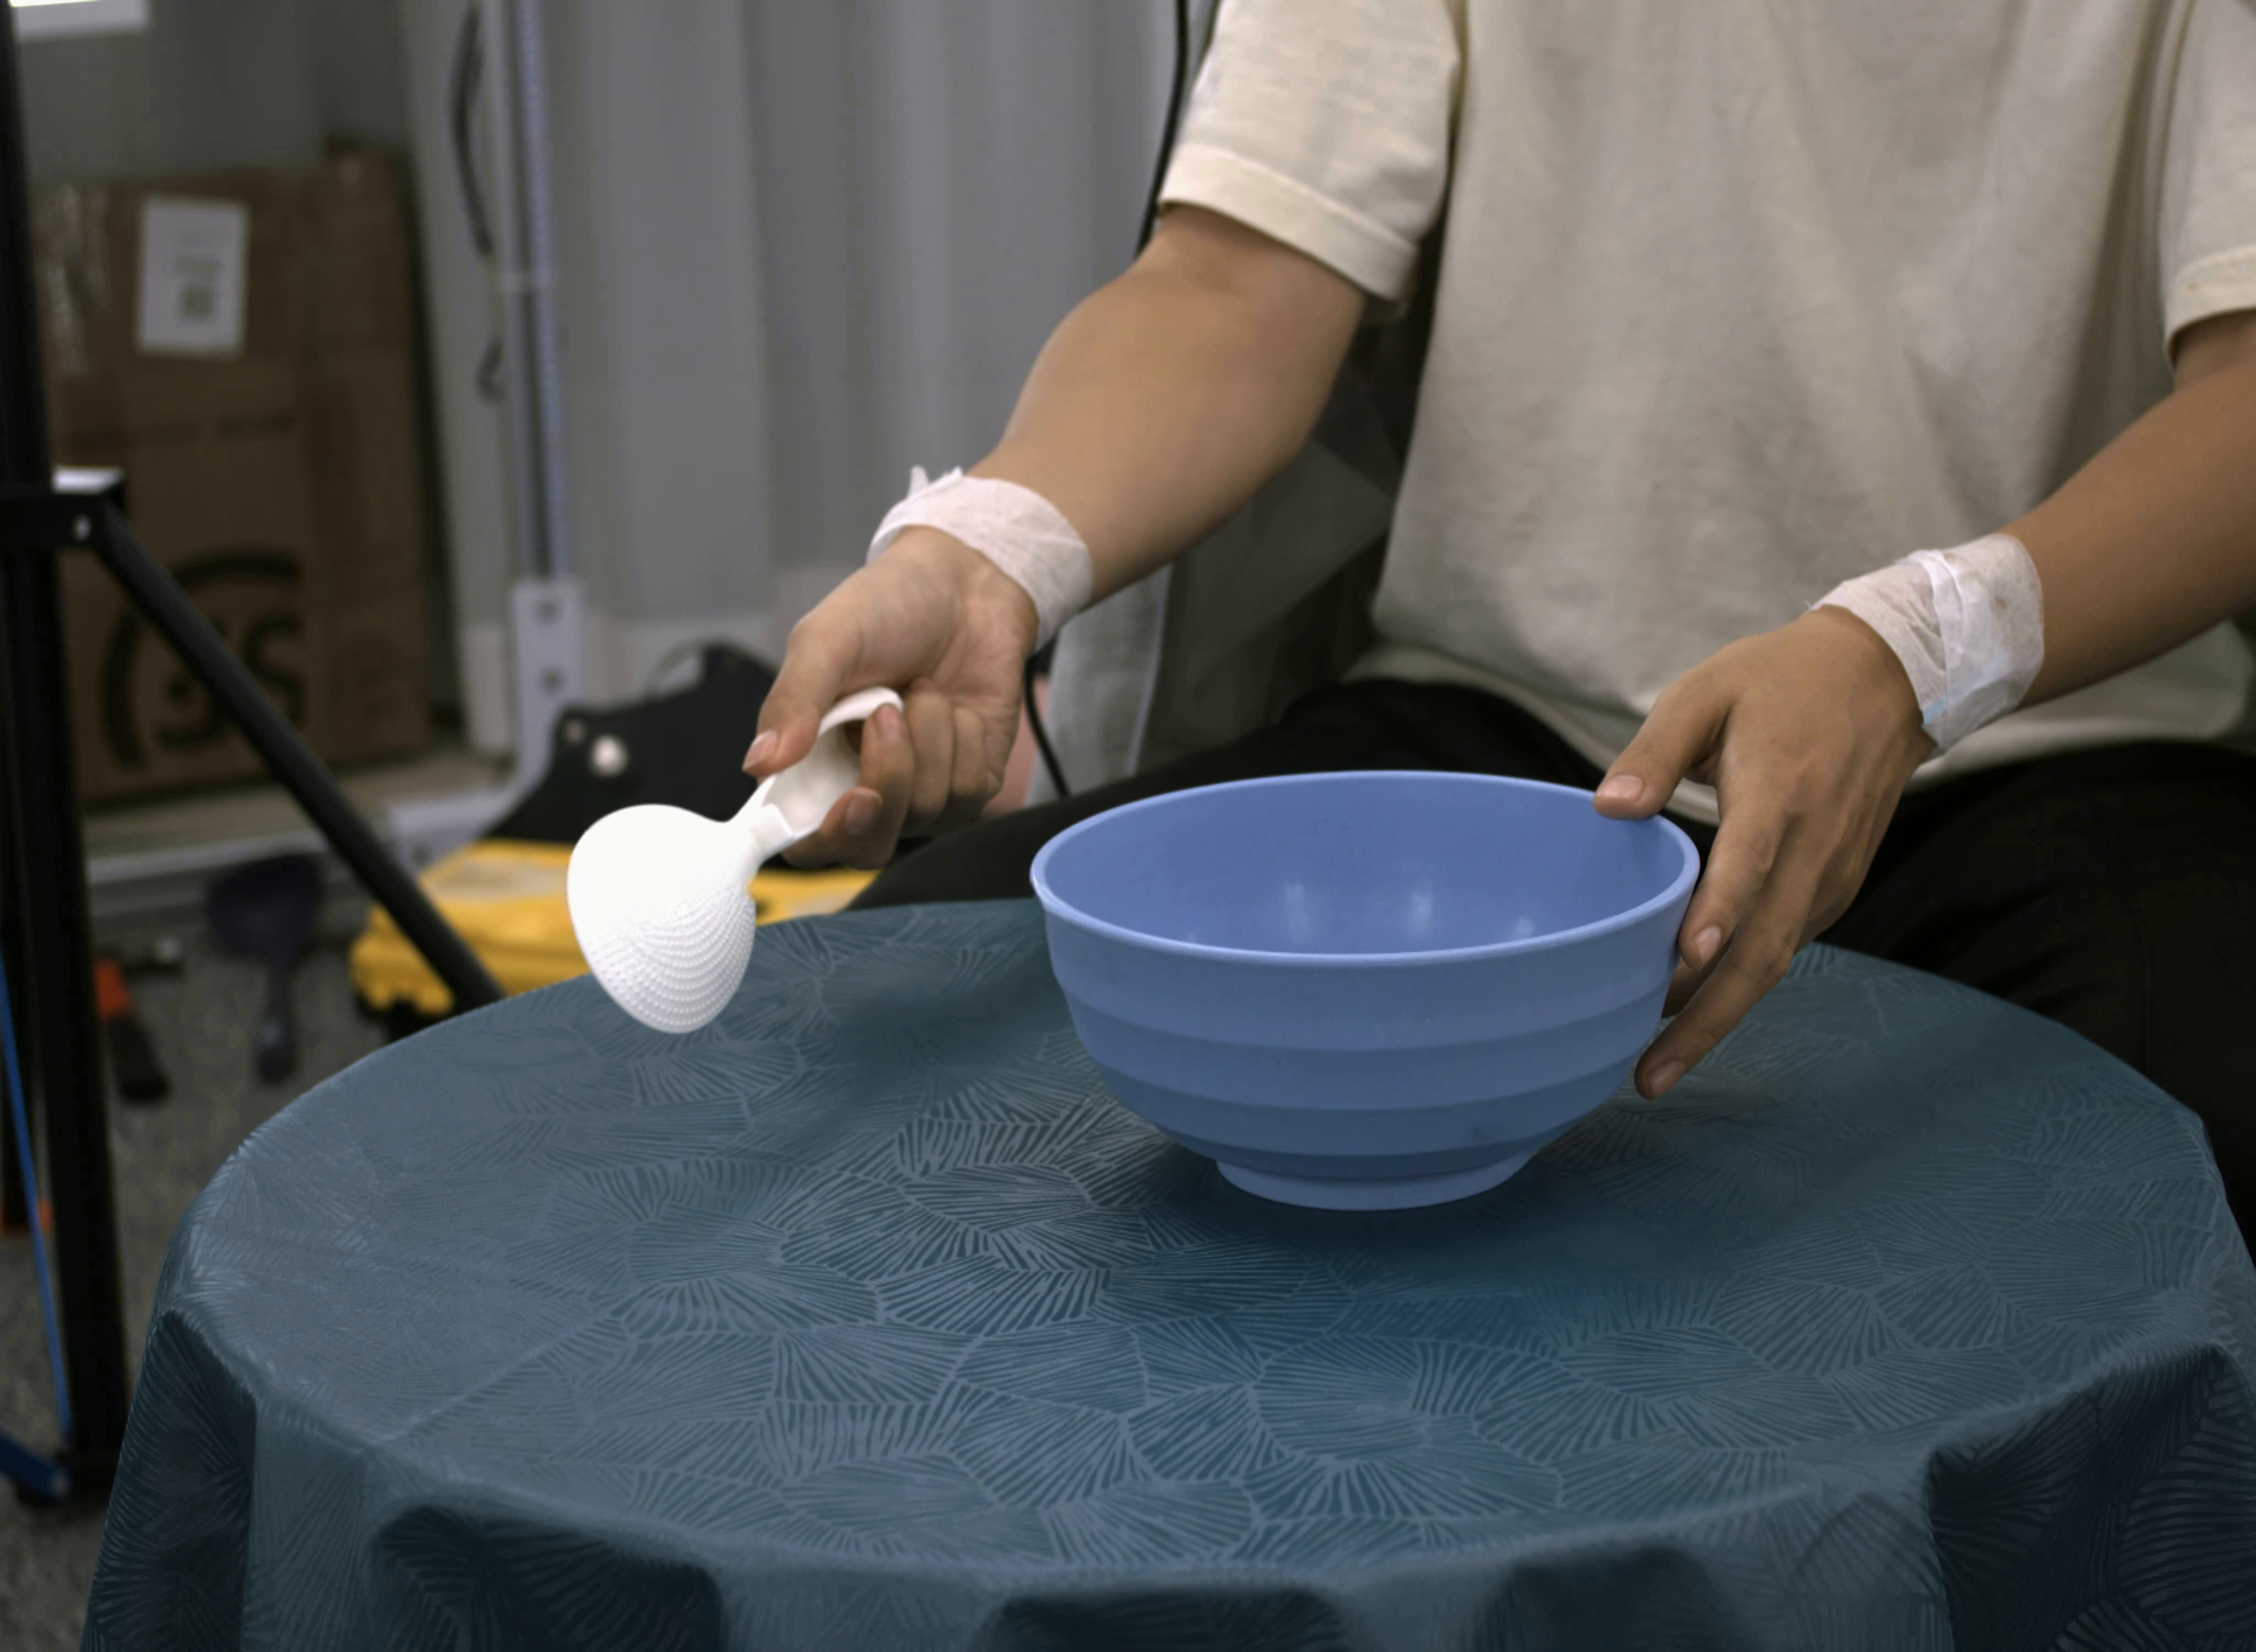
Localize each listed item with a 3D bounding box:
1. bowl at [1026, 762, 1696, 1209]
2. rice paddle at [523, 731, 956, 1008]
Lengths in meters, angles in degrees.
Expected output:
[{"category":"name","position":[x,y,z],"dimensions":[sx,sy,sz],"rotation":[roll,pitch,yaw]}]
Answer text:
[{"category":"bowl","position":[0.070,0.053,1.562],"dimensions":[0.195,0.095,0.197],"rotation":[-4,17,0]},{"category":"rice paddle","position":[-0.122,0.006,1.632],"dimensions":[0.030,0.069,0.201],"rotation":[-15,4,36]}]
